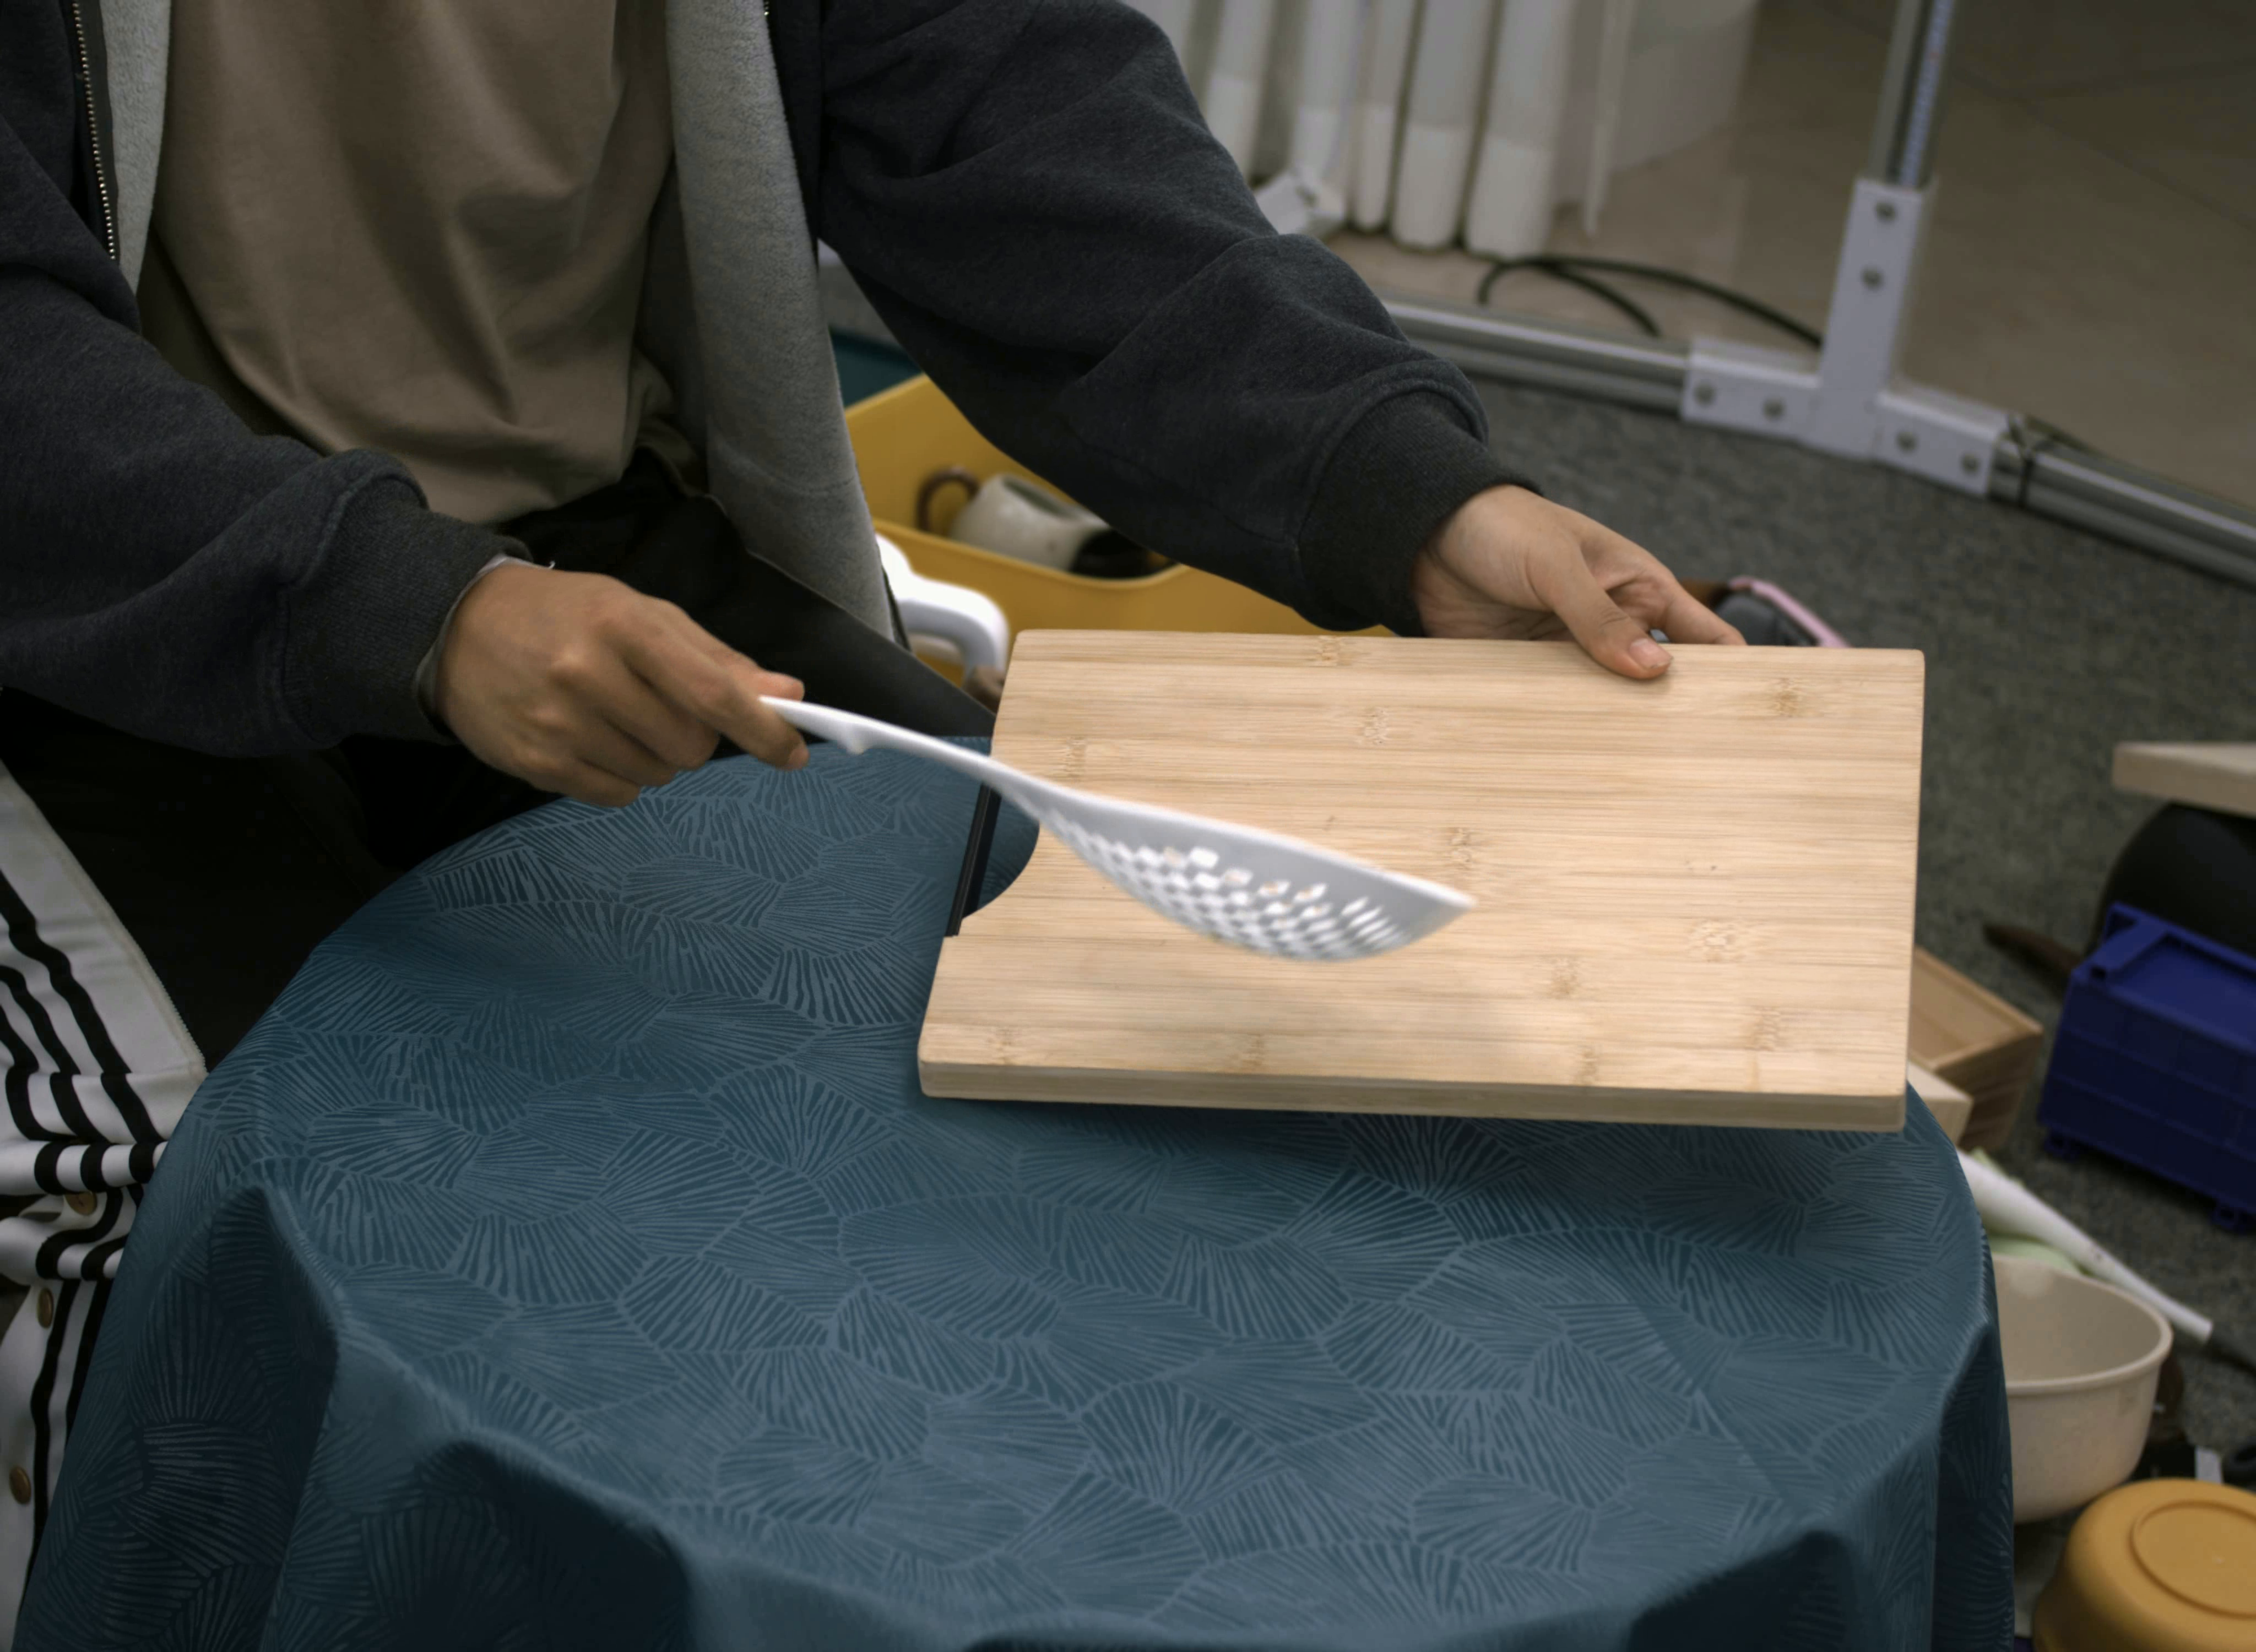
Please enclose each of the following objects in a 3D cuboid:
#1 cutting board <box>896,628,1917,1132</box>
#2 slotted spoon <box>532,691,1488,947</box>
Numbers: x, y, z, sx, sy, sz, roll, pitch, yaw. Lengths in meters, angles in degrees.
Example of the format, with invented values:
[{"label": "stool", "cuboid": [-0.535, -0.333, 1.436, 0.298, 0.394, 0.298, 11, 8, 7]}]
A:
[{"label": "cutting board", "cuboid": [0.105, 0.014, 1.902, 0.348, 0.023, 0.252, 1, 40, 9]}, {"label": "slotted spoon", "cuboid": [-0.046, -0.013, 1.808, 0.349, 0.050, 0.136, 18, 1, 24]}]
